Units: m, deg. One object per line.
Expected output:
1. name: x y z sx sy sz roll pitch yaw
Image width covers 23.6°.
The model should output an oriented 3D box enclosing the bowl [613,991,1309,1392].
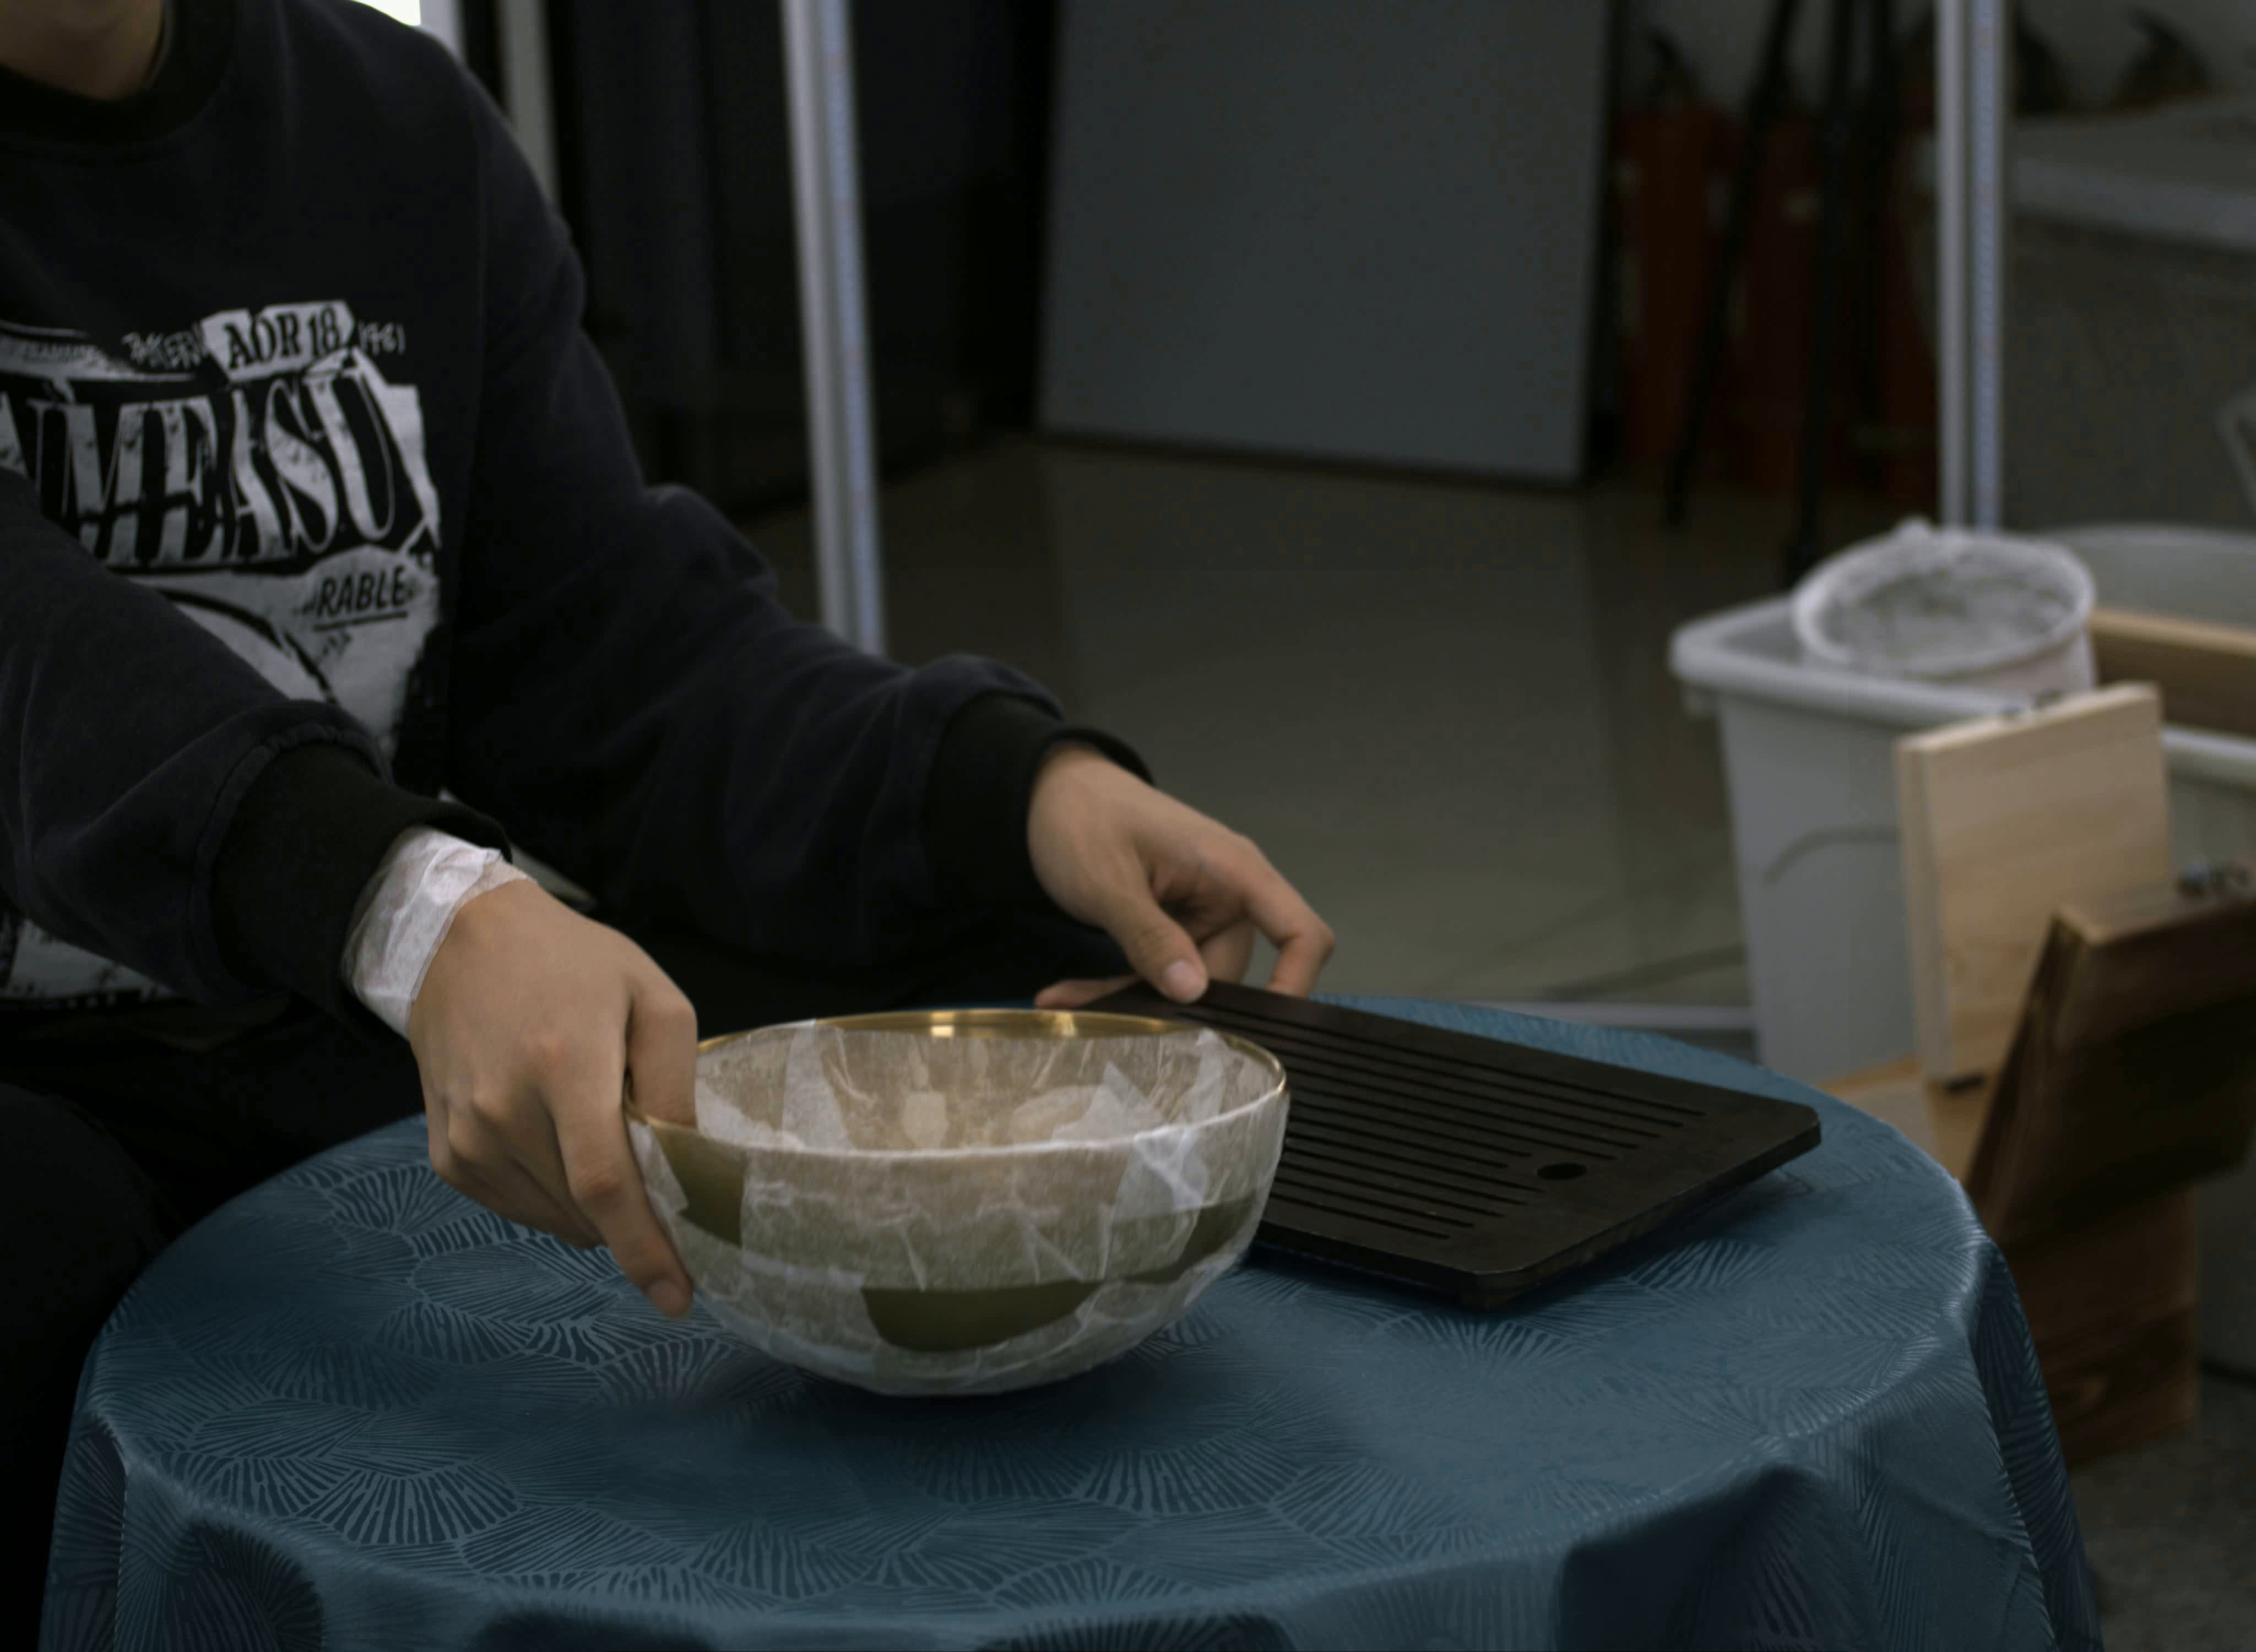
1. bowl: -0.049 0.114 1.601 0.212 0.096 0.215 -3 10 0

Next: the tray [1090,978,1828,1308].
1. tray: 0.066 0.101 1.779 0.167 0.019 0.309 -21 21 -41
